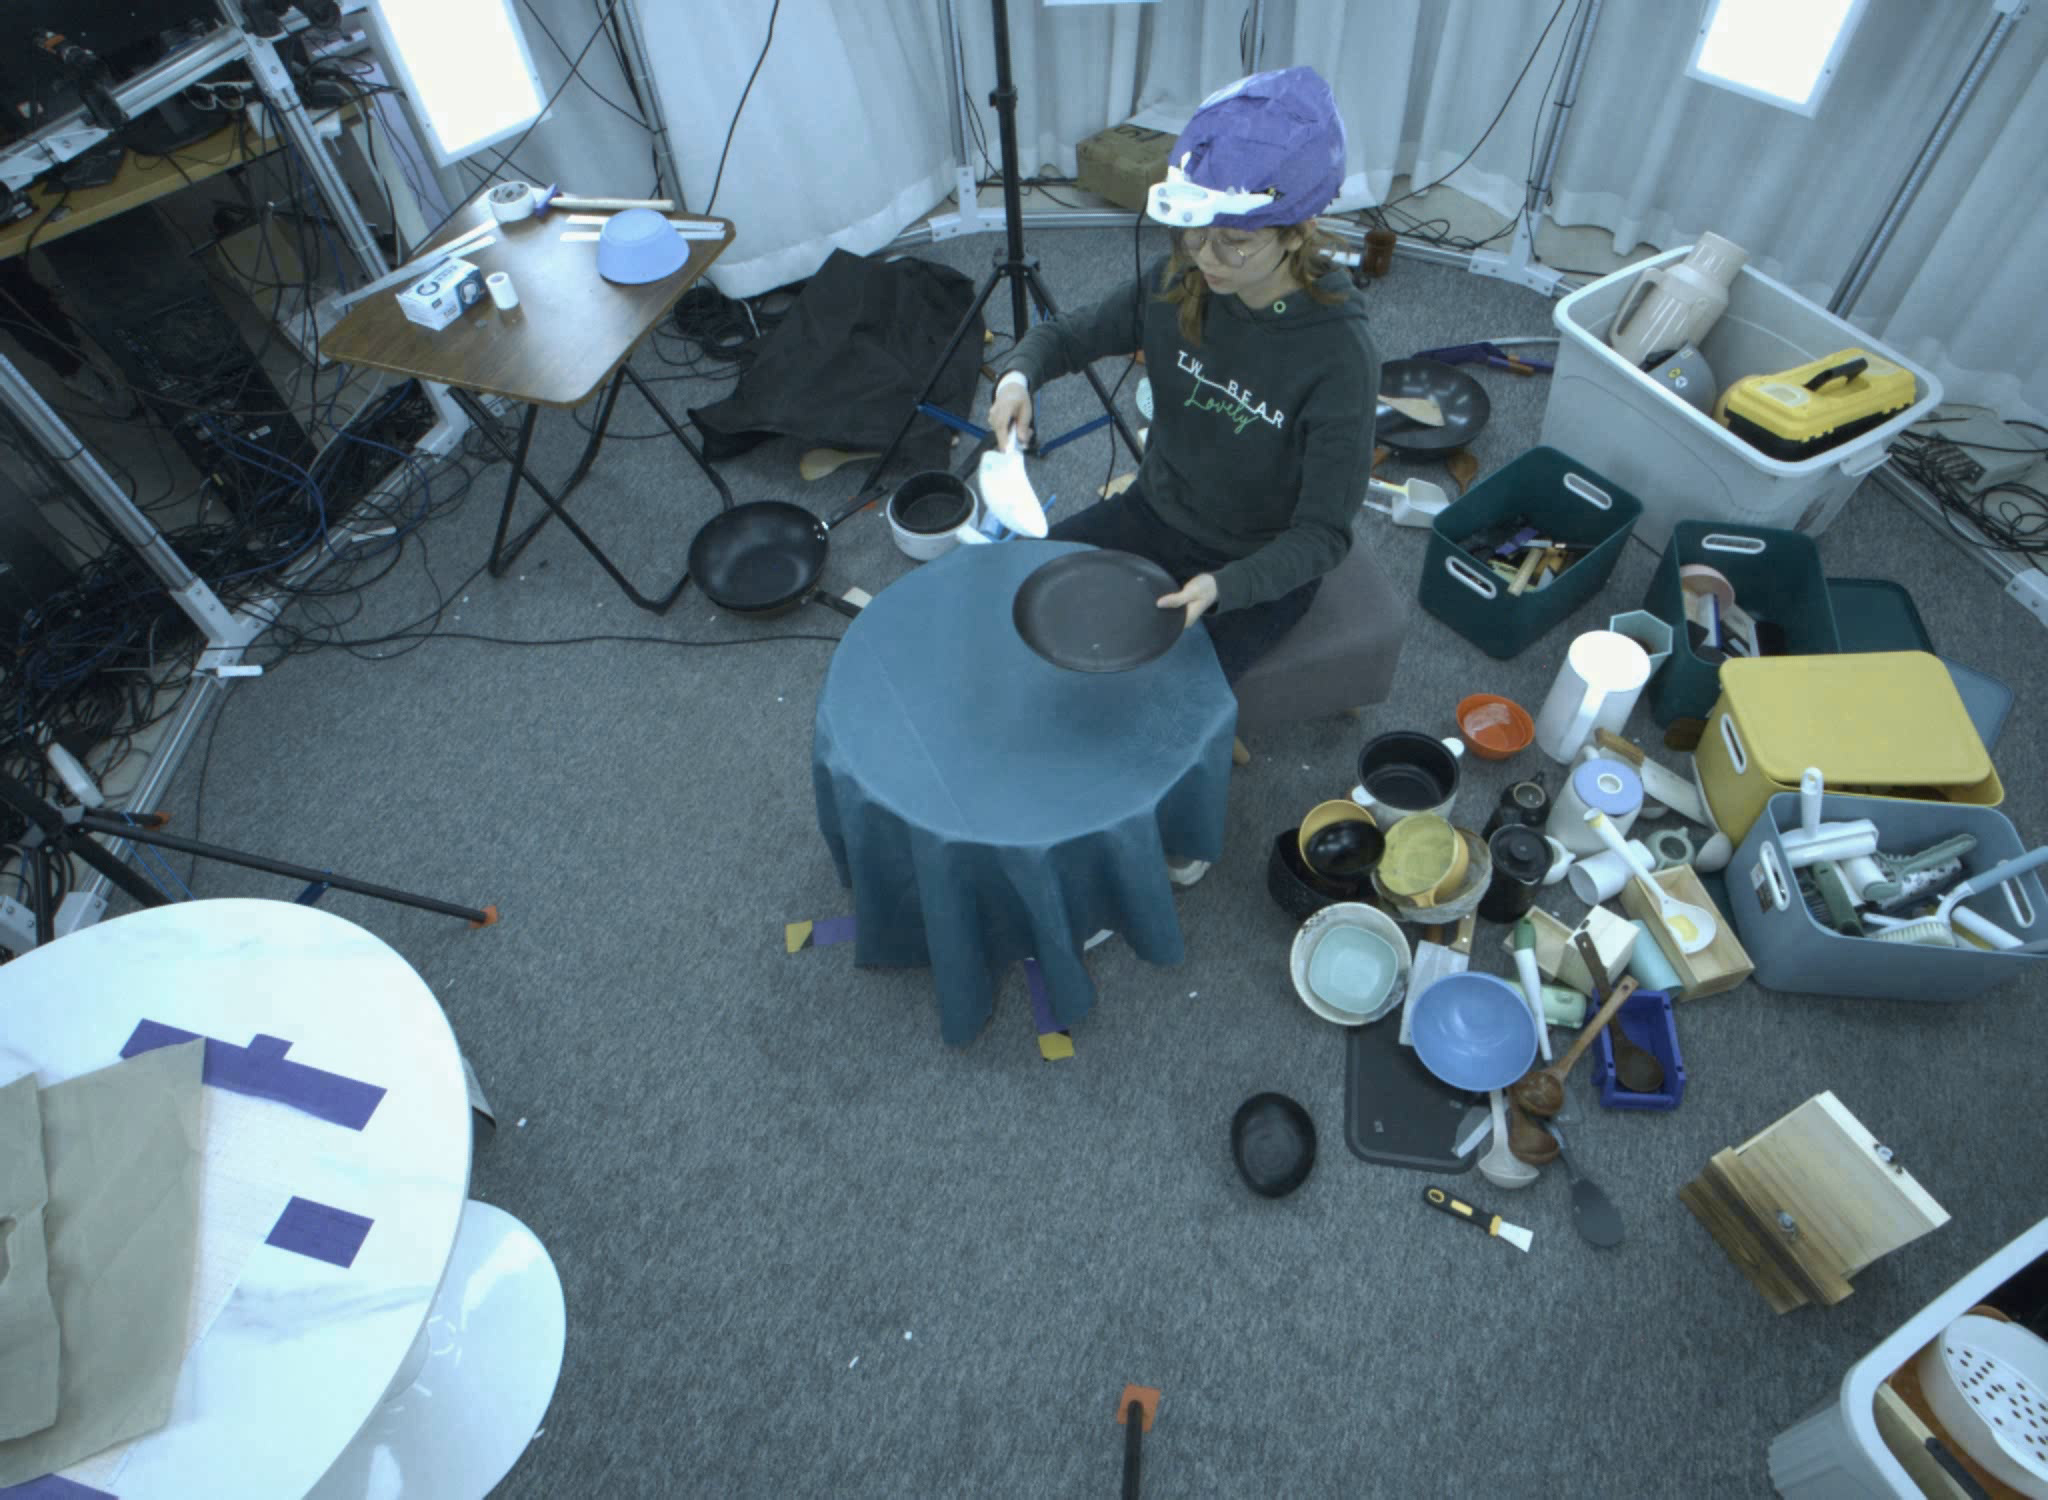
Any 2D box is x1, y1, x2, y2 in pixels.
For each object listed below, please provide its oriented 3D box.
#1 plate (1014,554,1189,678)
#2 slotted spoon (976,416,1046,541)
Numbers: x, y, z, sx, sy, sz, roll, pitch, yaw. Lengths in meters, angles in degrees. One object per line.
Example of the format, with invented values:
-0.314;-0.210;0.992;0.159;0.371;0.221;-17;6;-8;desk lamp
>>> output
0.107;-0.185;1.723;0.244;0.023;0.242;0;52;1;plate
-0.015;-0.401;1.730;0.045;0.138;0.347;-30;31;30;slotted spoon
